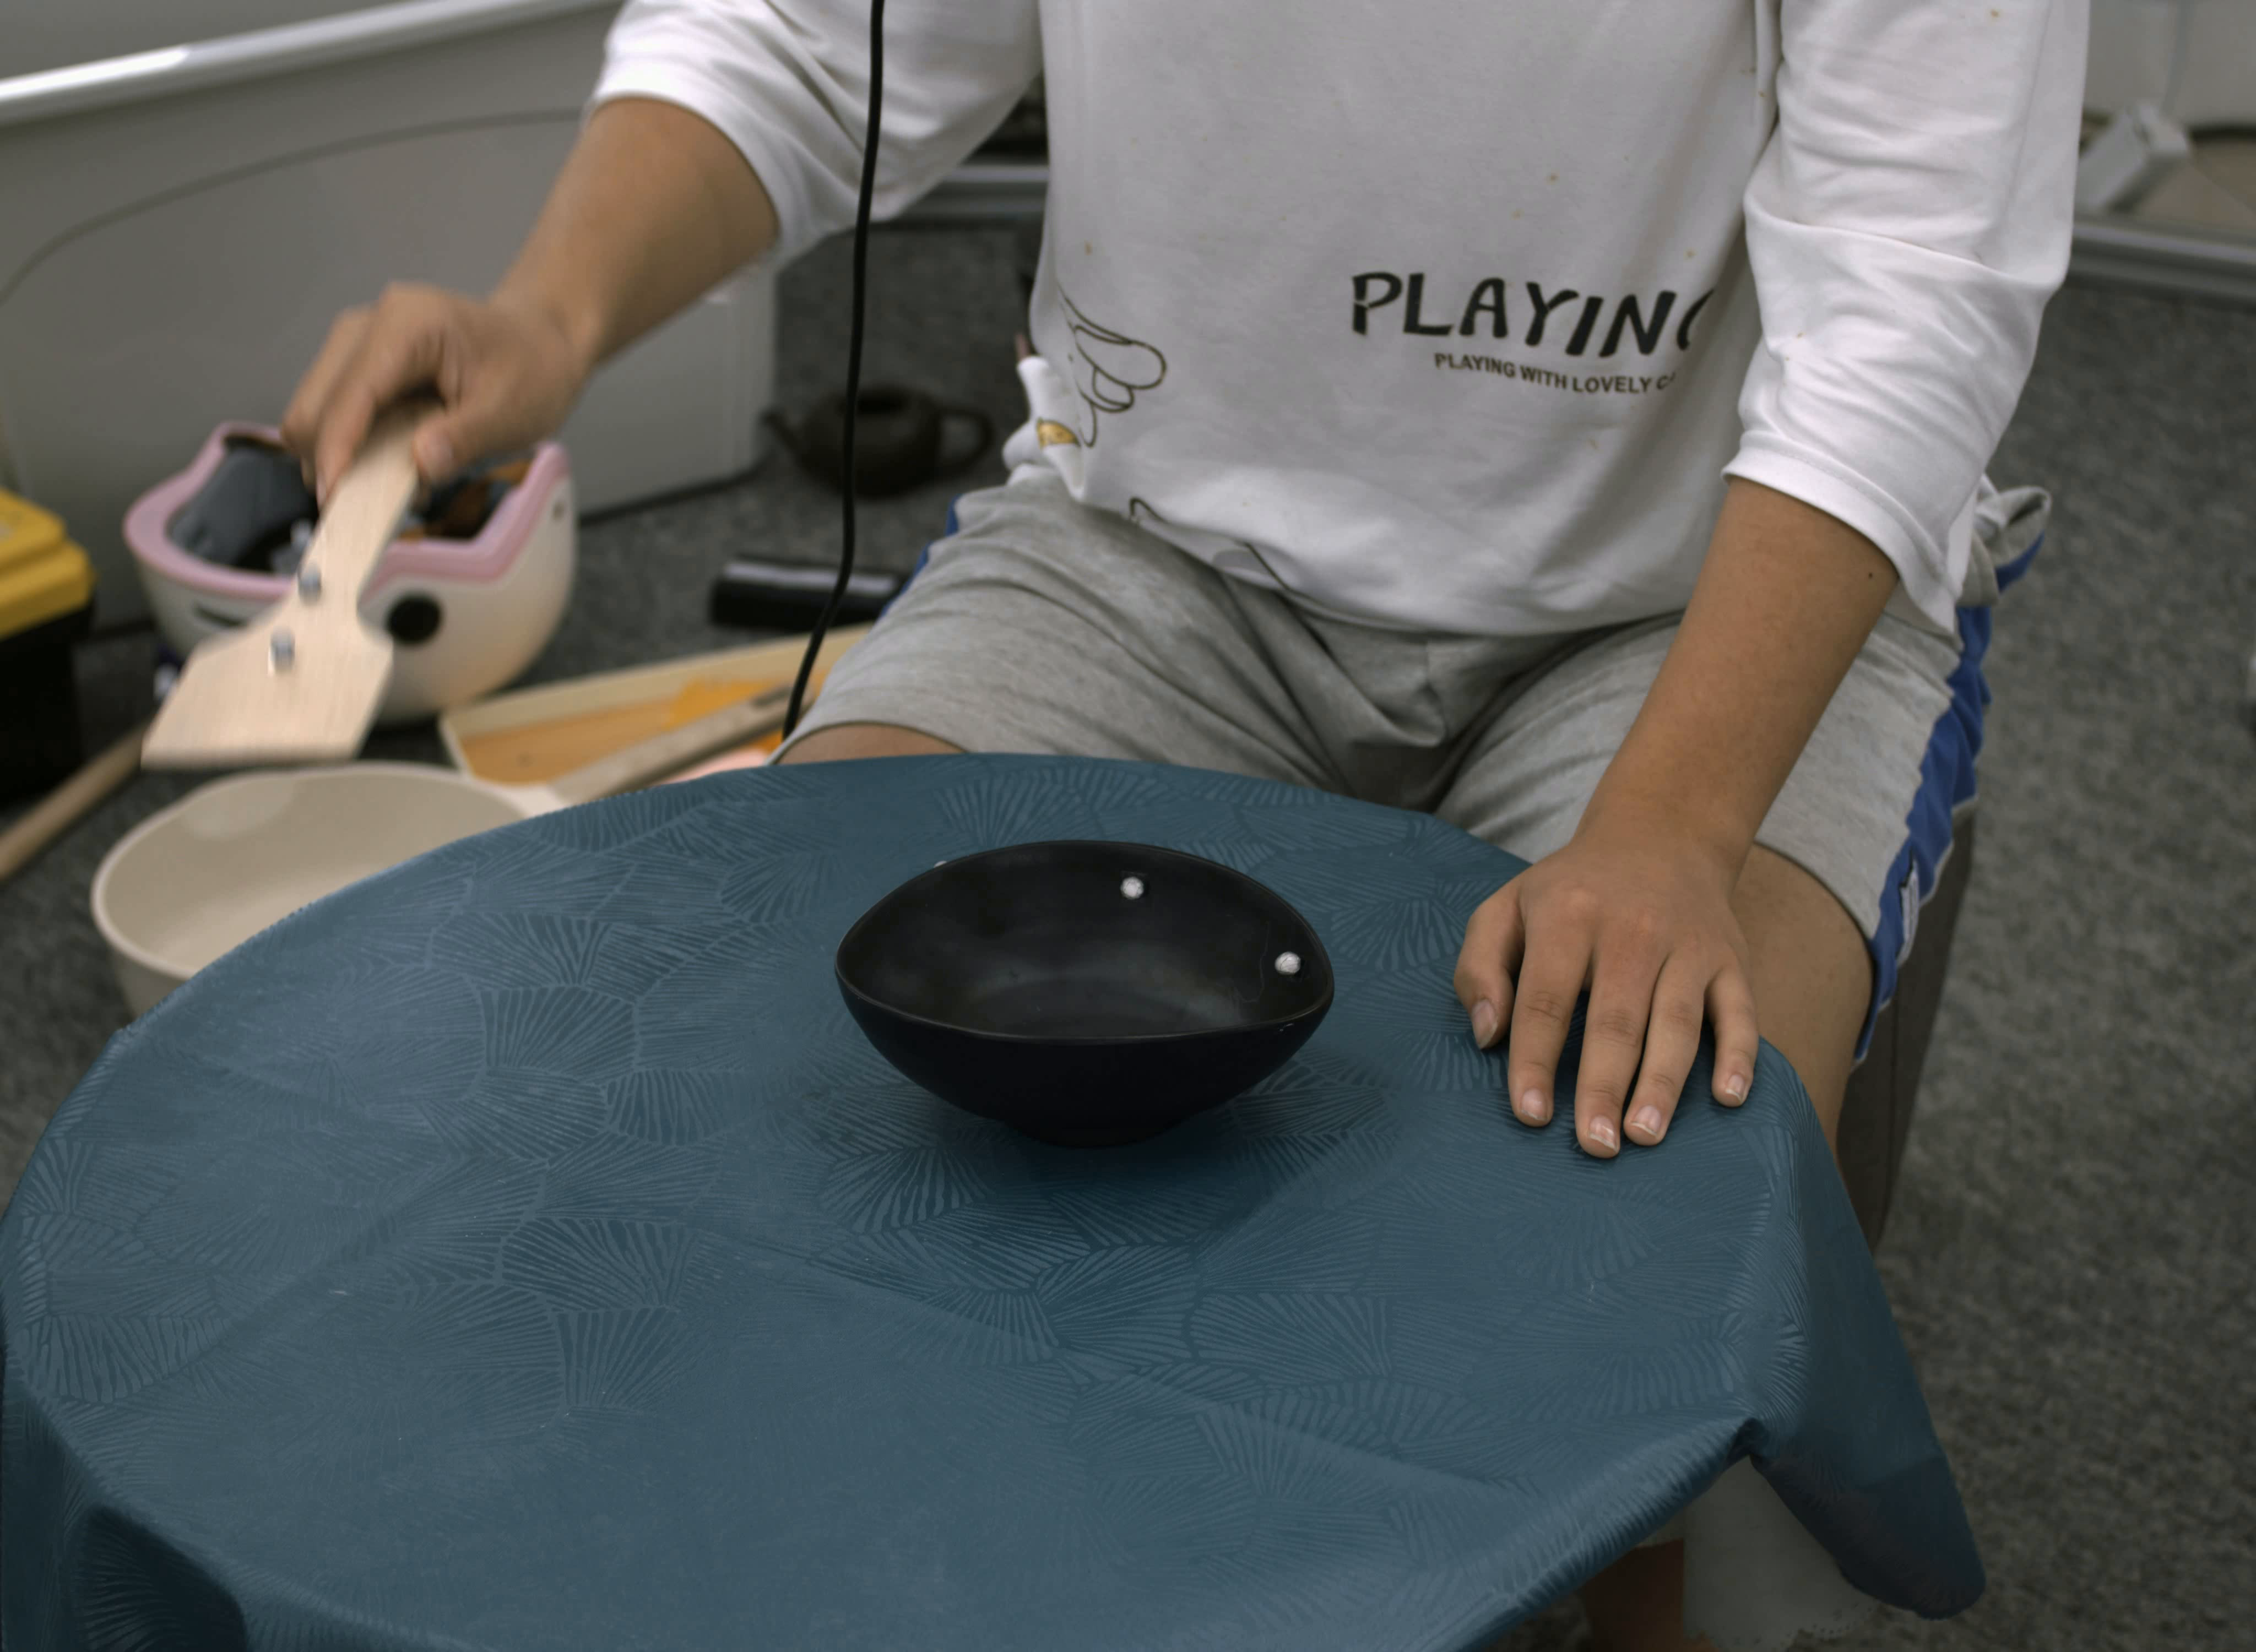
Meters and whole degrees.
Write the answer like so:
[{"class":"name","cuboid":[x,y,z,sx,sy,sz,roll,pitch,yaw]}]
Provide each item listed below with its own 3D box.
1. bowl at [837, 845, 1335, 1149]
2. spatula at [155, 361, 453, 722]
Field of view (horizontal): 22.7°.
[{"class":"bowl","cuboid":[-0.014,0.065,1.907,0.169,0.066,0.139,3,27,6]},{"class":"spatula","cuboid":[-0.267,-0.098,1.912,0.072,0.010,0.297,-2,27,5]}]
